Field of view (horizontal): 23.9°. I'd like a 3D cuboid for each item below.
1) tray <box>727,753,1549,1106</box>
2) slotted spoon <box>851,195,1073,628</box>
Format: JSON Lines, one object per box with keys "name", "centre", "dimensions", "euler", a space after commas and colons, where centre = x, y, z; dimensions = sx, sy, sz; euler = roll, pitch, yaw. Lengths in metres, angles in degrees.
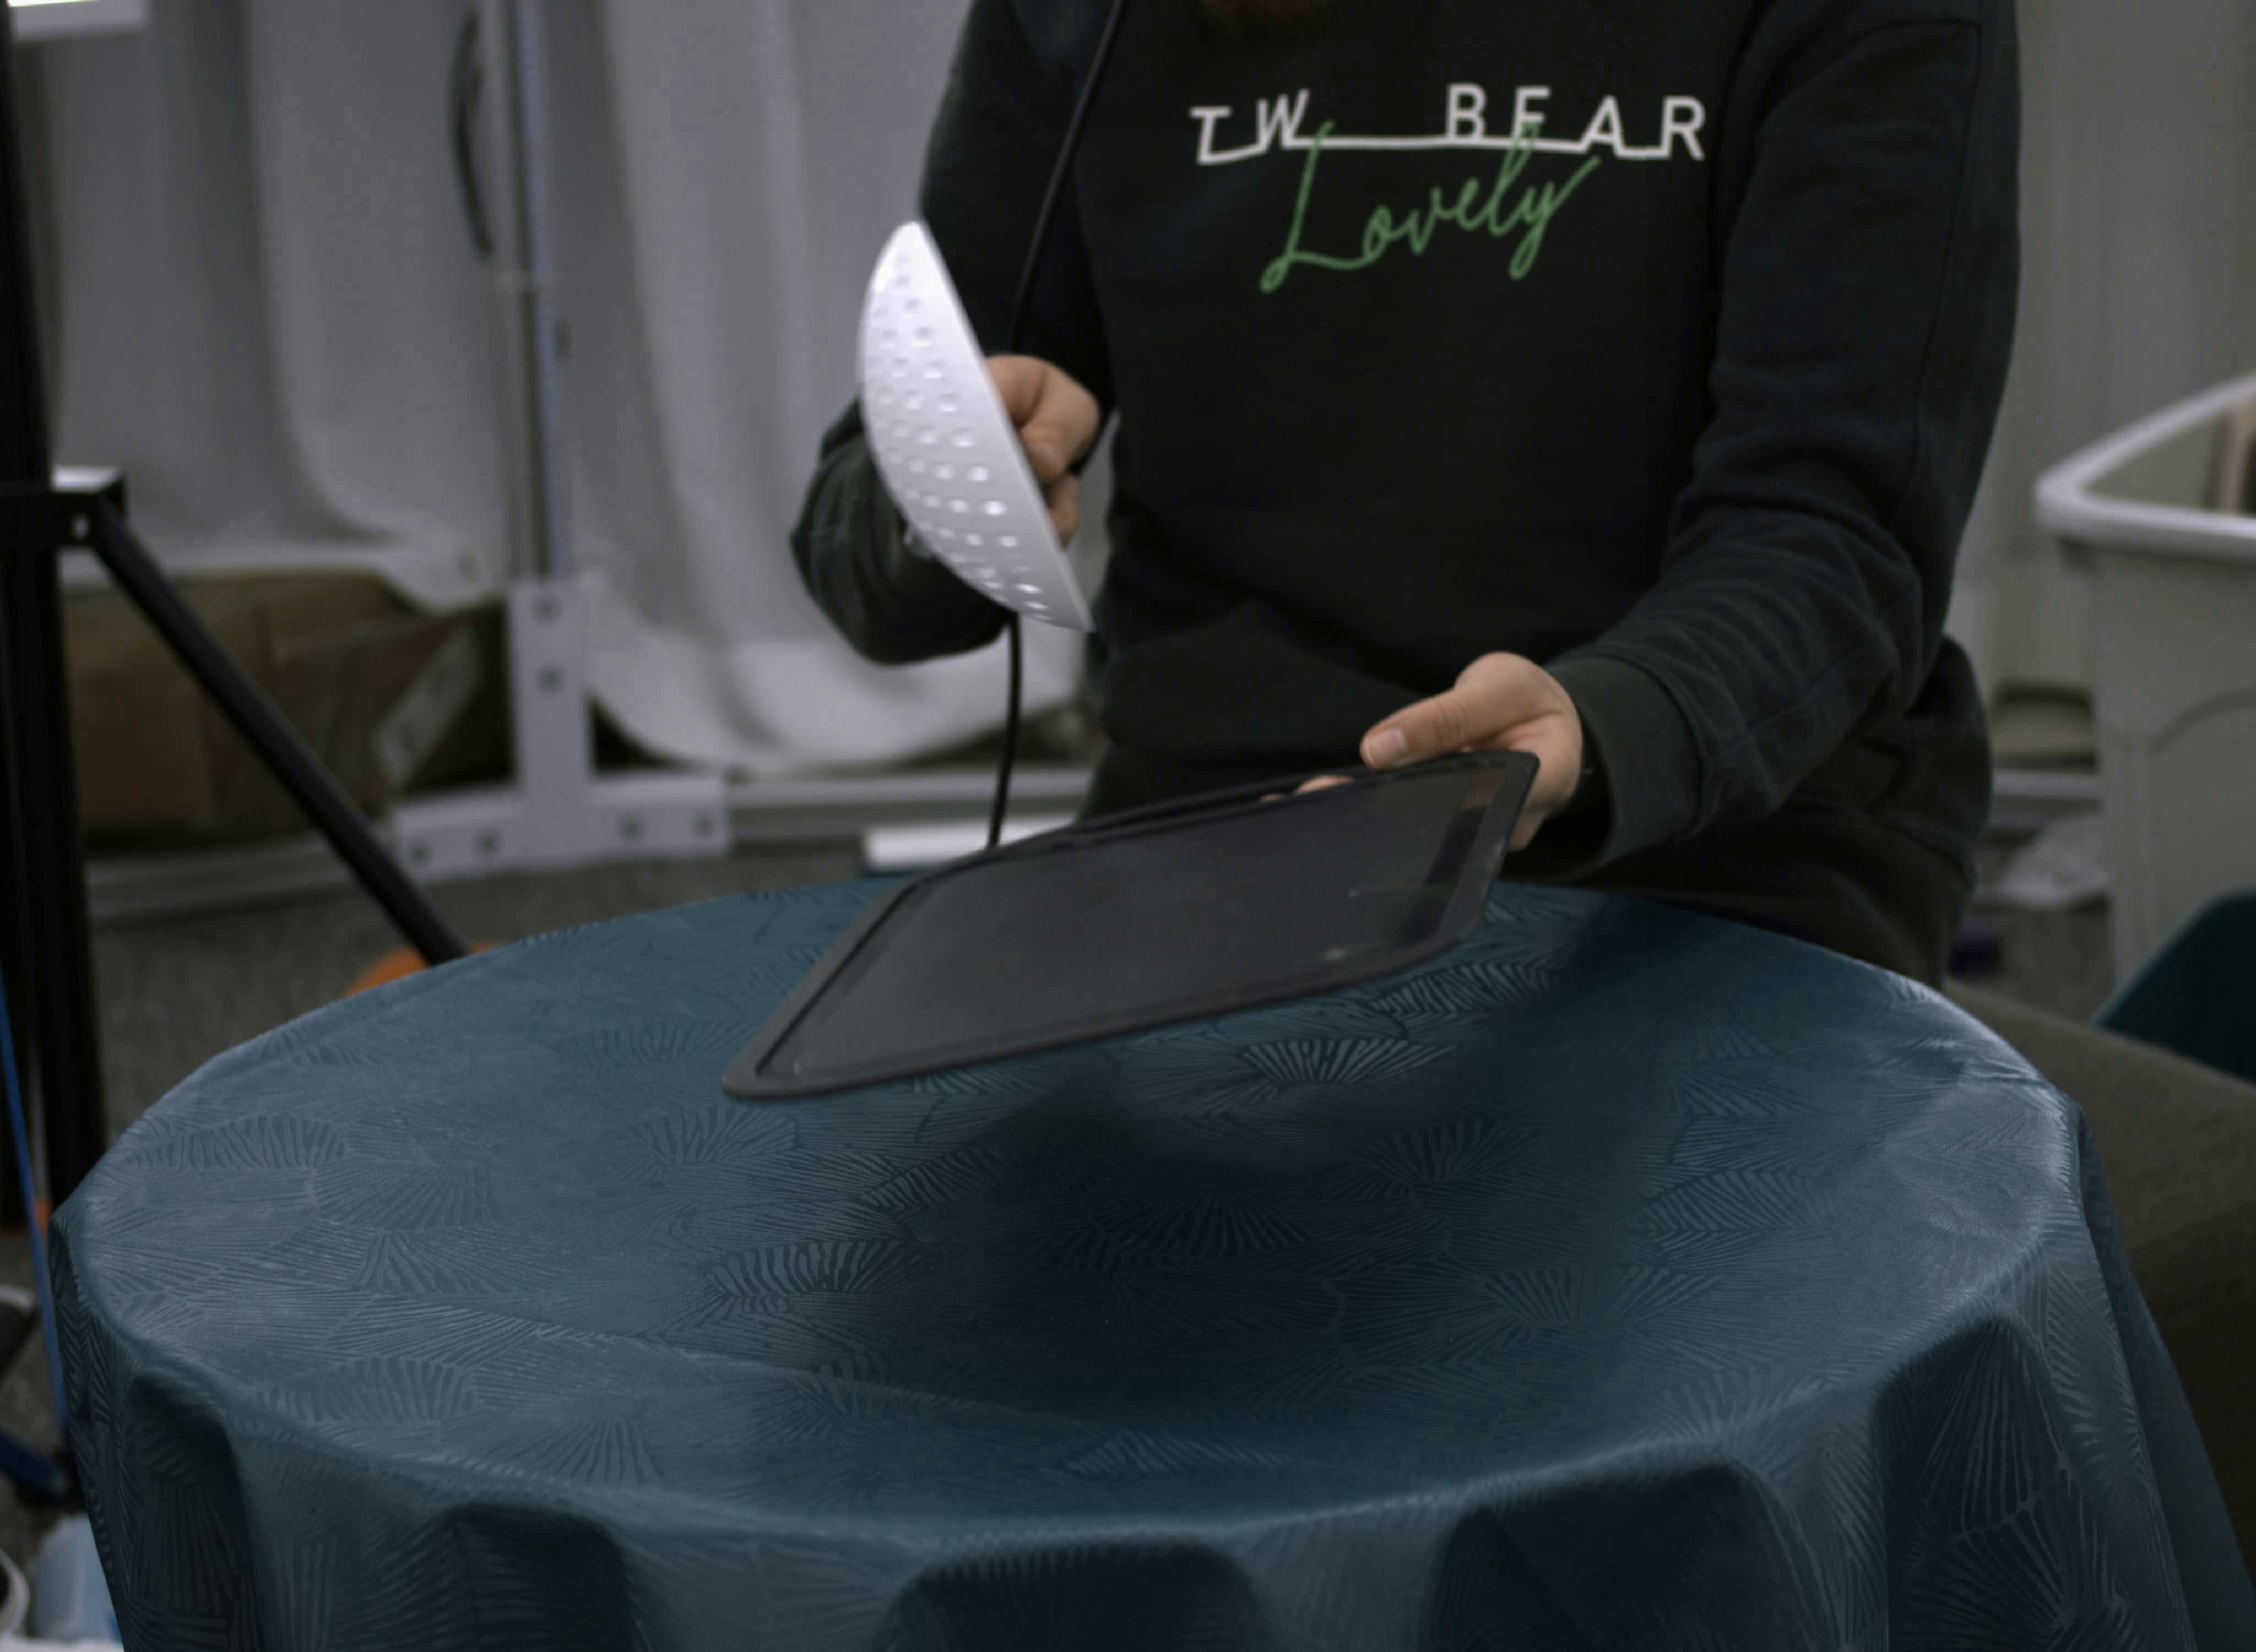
{"name": "tray", "centre": [0.010, 0.024, 1.517], "dimensions": [0.212, 0.010, 0.324], "euler": [-12, 10, 12]}
{"name": "slotted spoon", "centre": [-0.045, -0.118, 1.688], "dimensions": [0.046, 0.137, 0.347], "euler": [-21, -2, 5]}
